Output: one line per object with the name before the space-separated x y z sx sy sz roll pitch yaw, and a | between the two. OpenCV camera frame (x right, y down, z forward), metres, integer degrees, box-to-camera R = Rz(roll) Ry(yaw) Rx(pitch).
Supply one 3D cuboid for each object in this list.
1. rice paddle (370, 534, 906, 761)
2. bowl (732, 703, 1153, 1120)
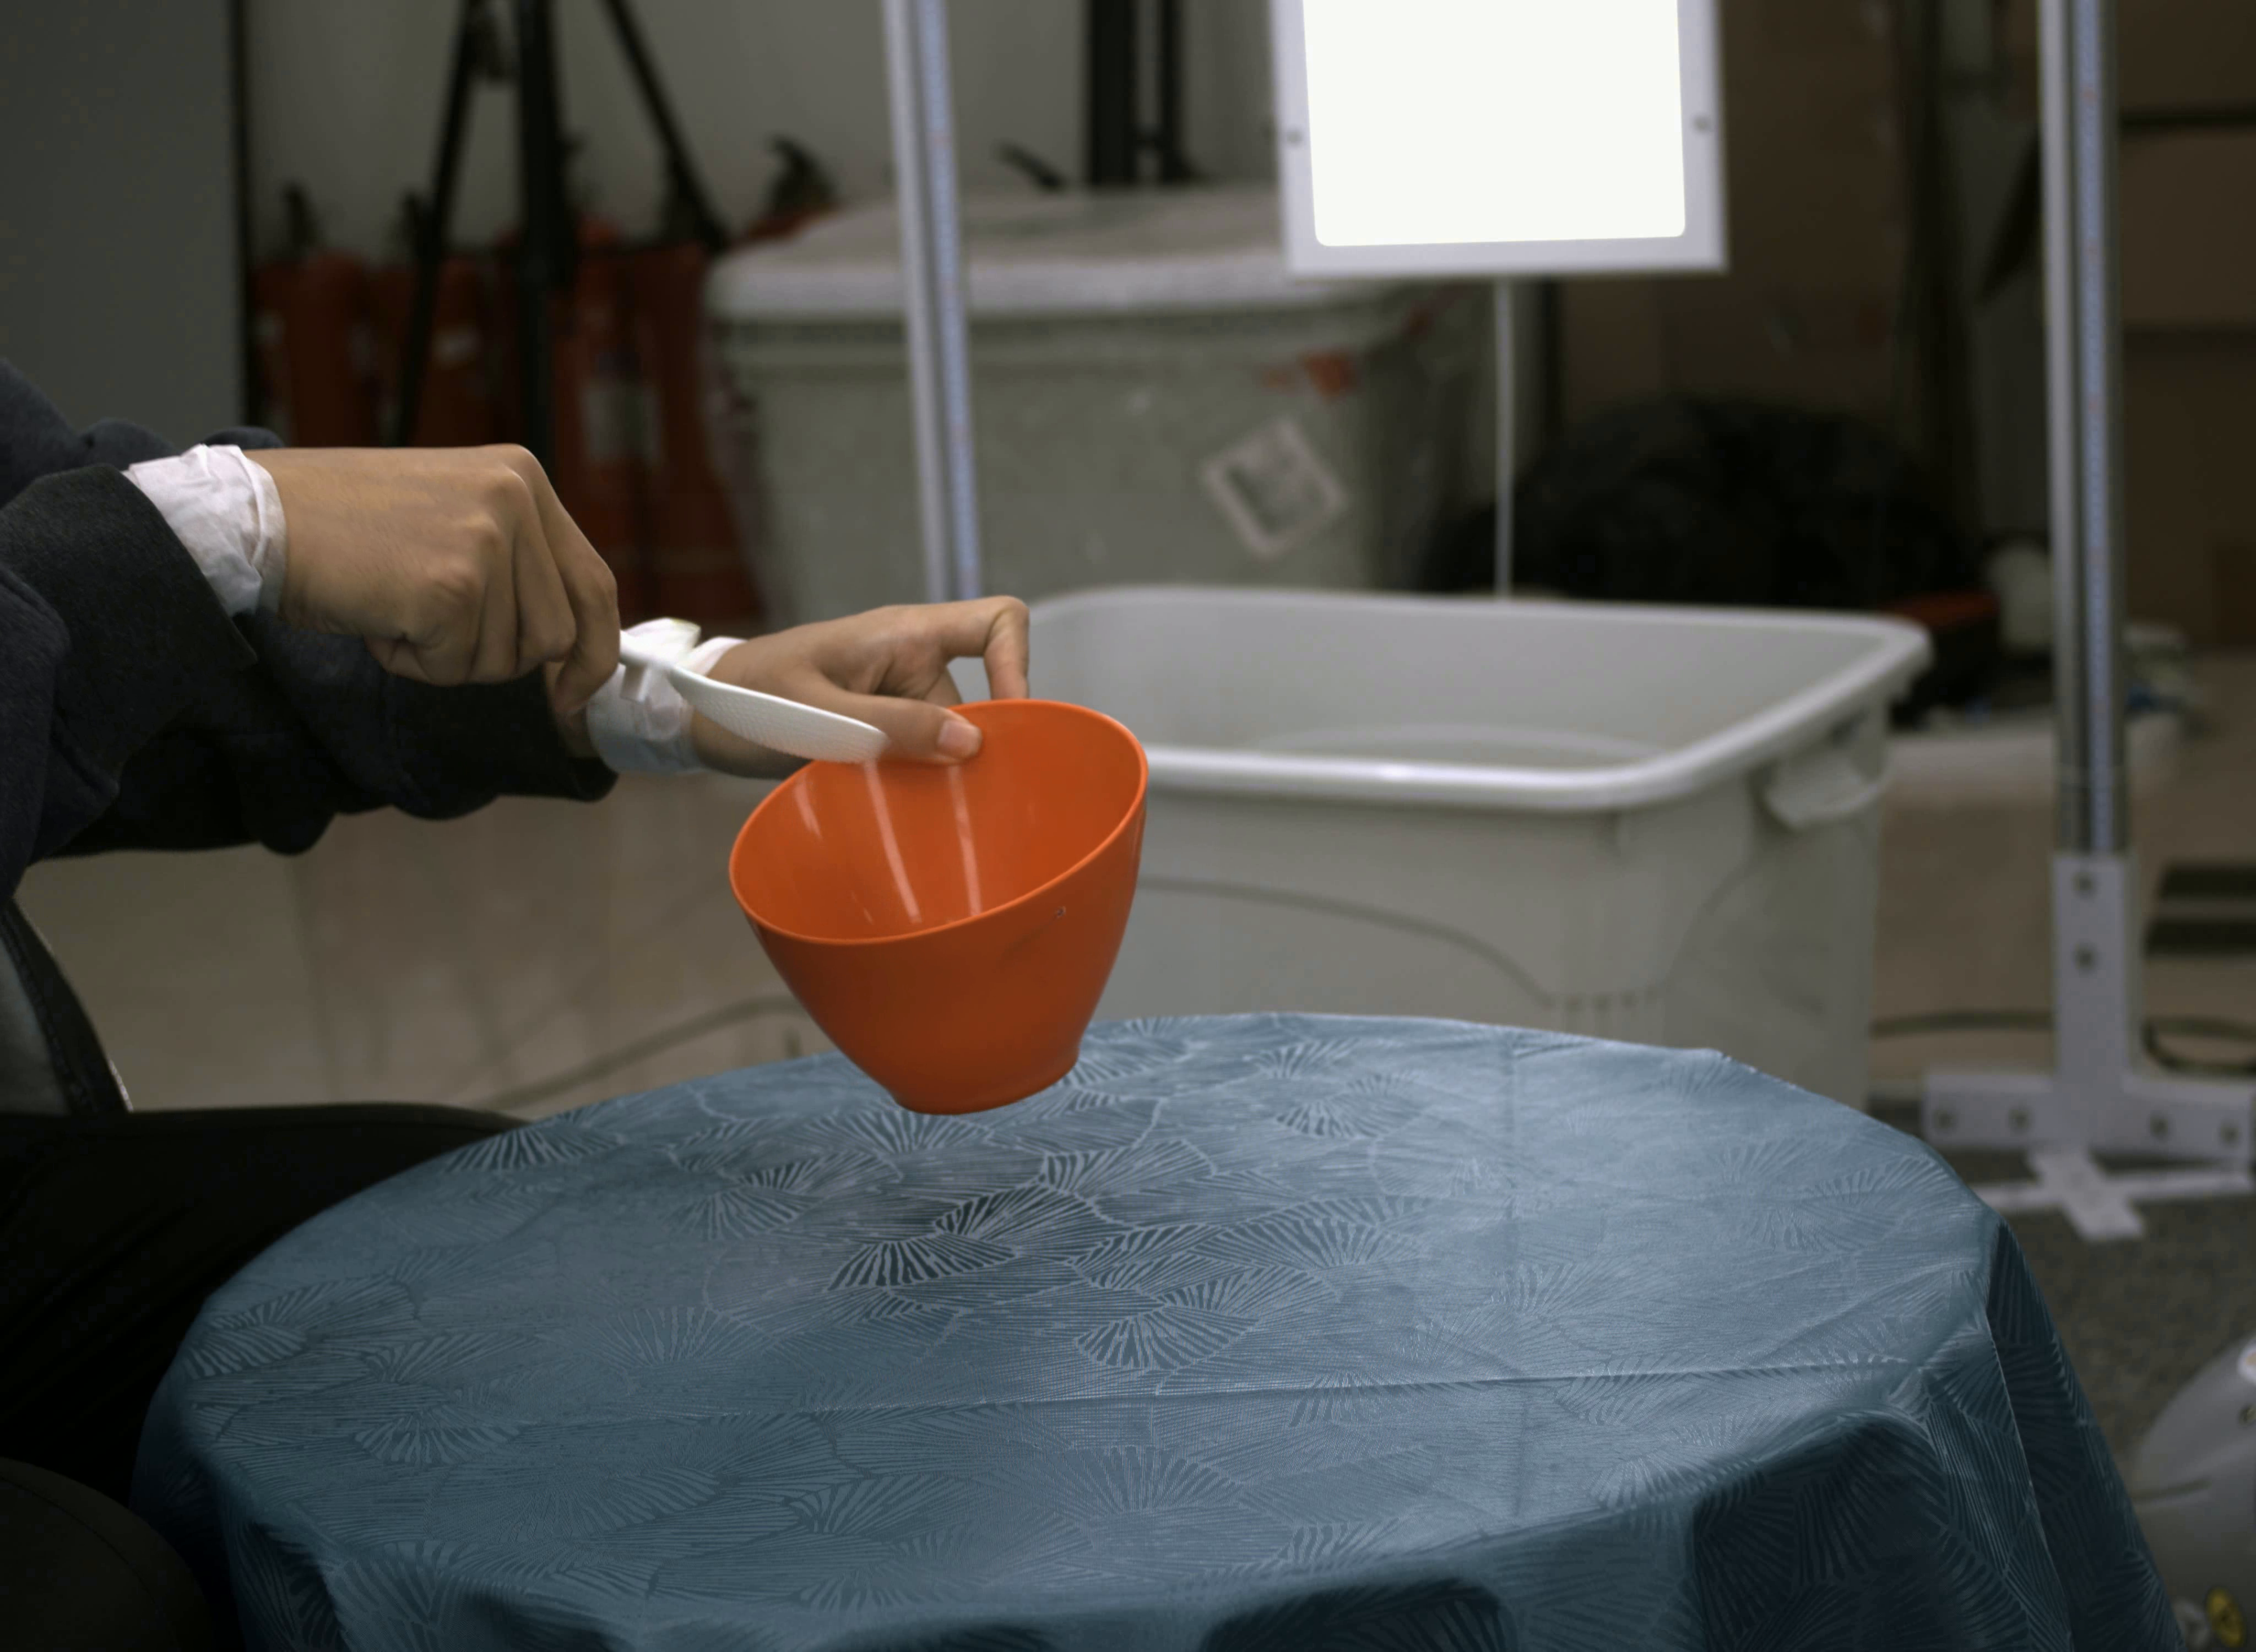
rice paddle | -0.155 -0.053 1.802 0.201 0.029 0.070 19 -2 -37
bowl | -0.056 0.035 1.879 0.148 0.105 0.148 -11 21 3
